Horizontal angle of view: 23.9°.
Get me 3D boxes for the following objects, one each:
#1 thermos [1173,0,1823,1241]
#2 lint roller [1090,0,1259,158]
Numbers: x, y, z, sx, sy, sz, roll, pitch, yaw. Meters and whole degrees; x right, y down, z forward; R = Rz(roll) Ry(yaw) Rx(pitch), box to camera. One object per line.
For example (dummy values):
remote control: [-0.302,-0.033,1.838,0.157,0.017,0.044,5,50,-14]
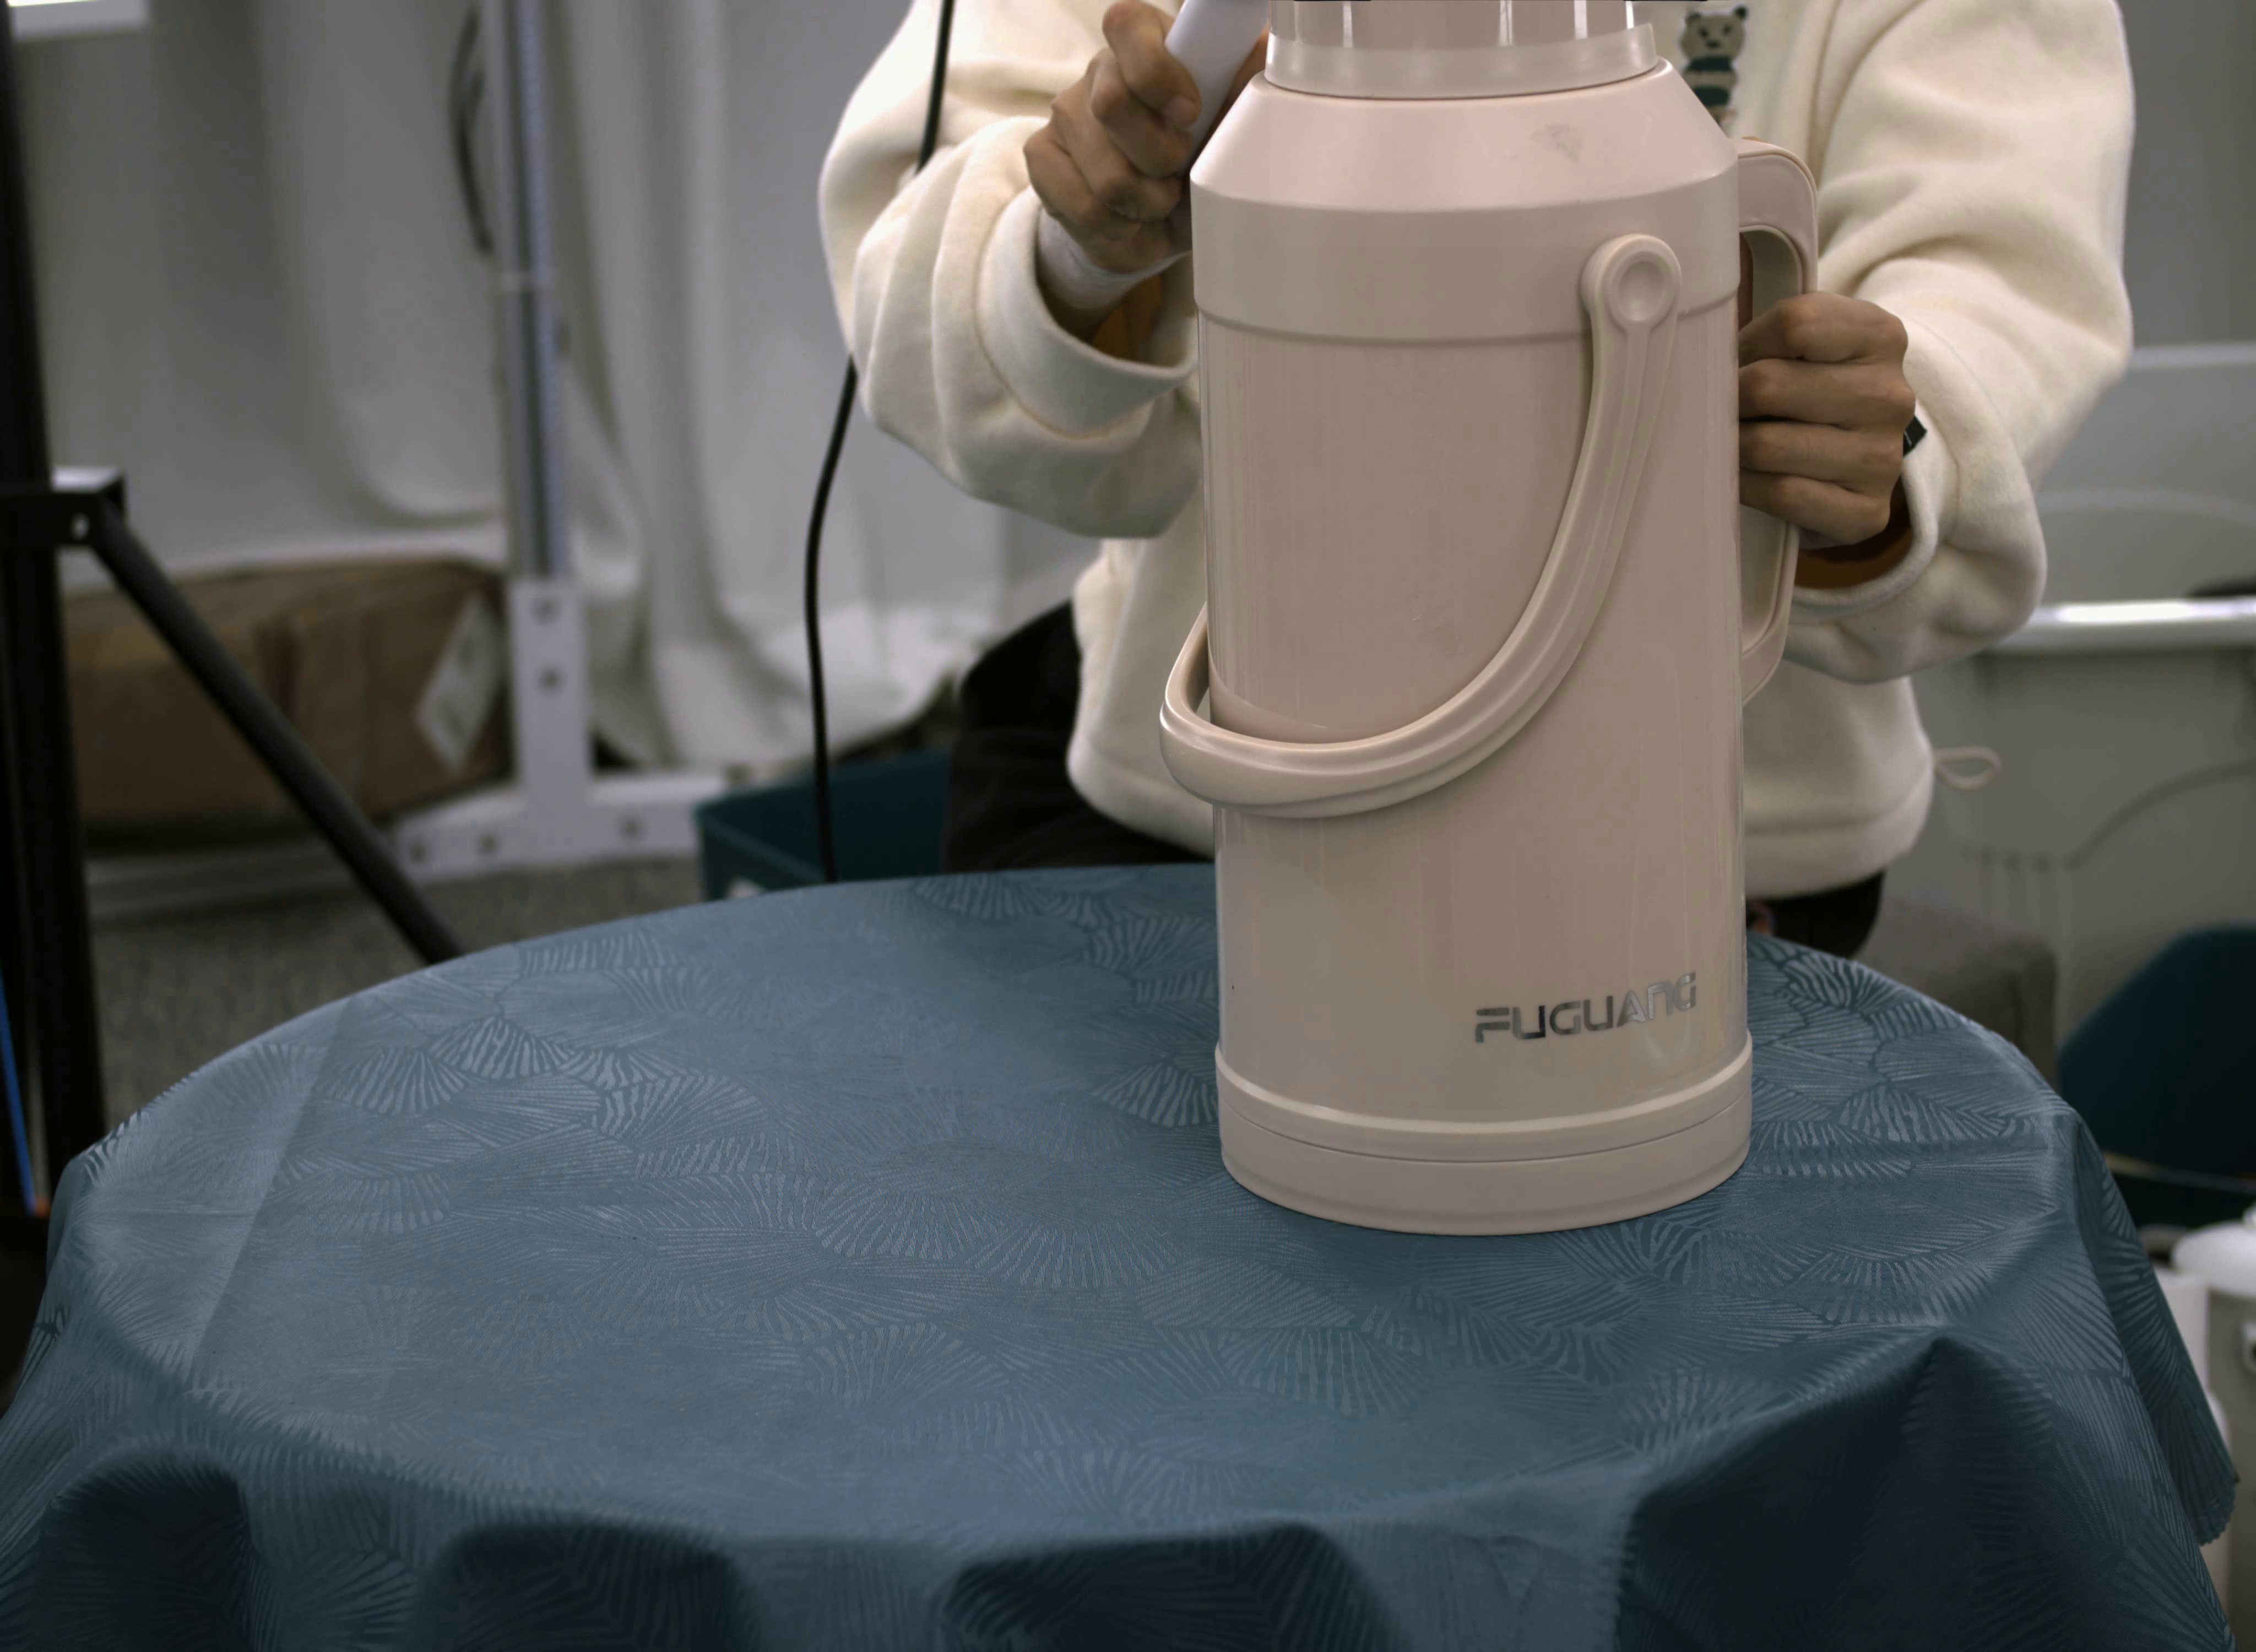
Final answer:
thermos: [0.112,-0.096,1.536,0.202,0.406,0.179,-10,16,-27]
lint roller: [0.029,-0.265,1.616,0.170,0.052,0.194,-4,-16,-24]
